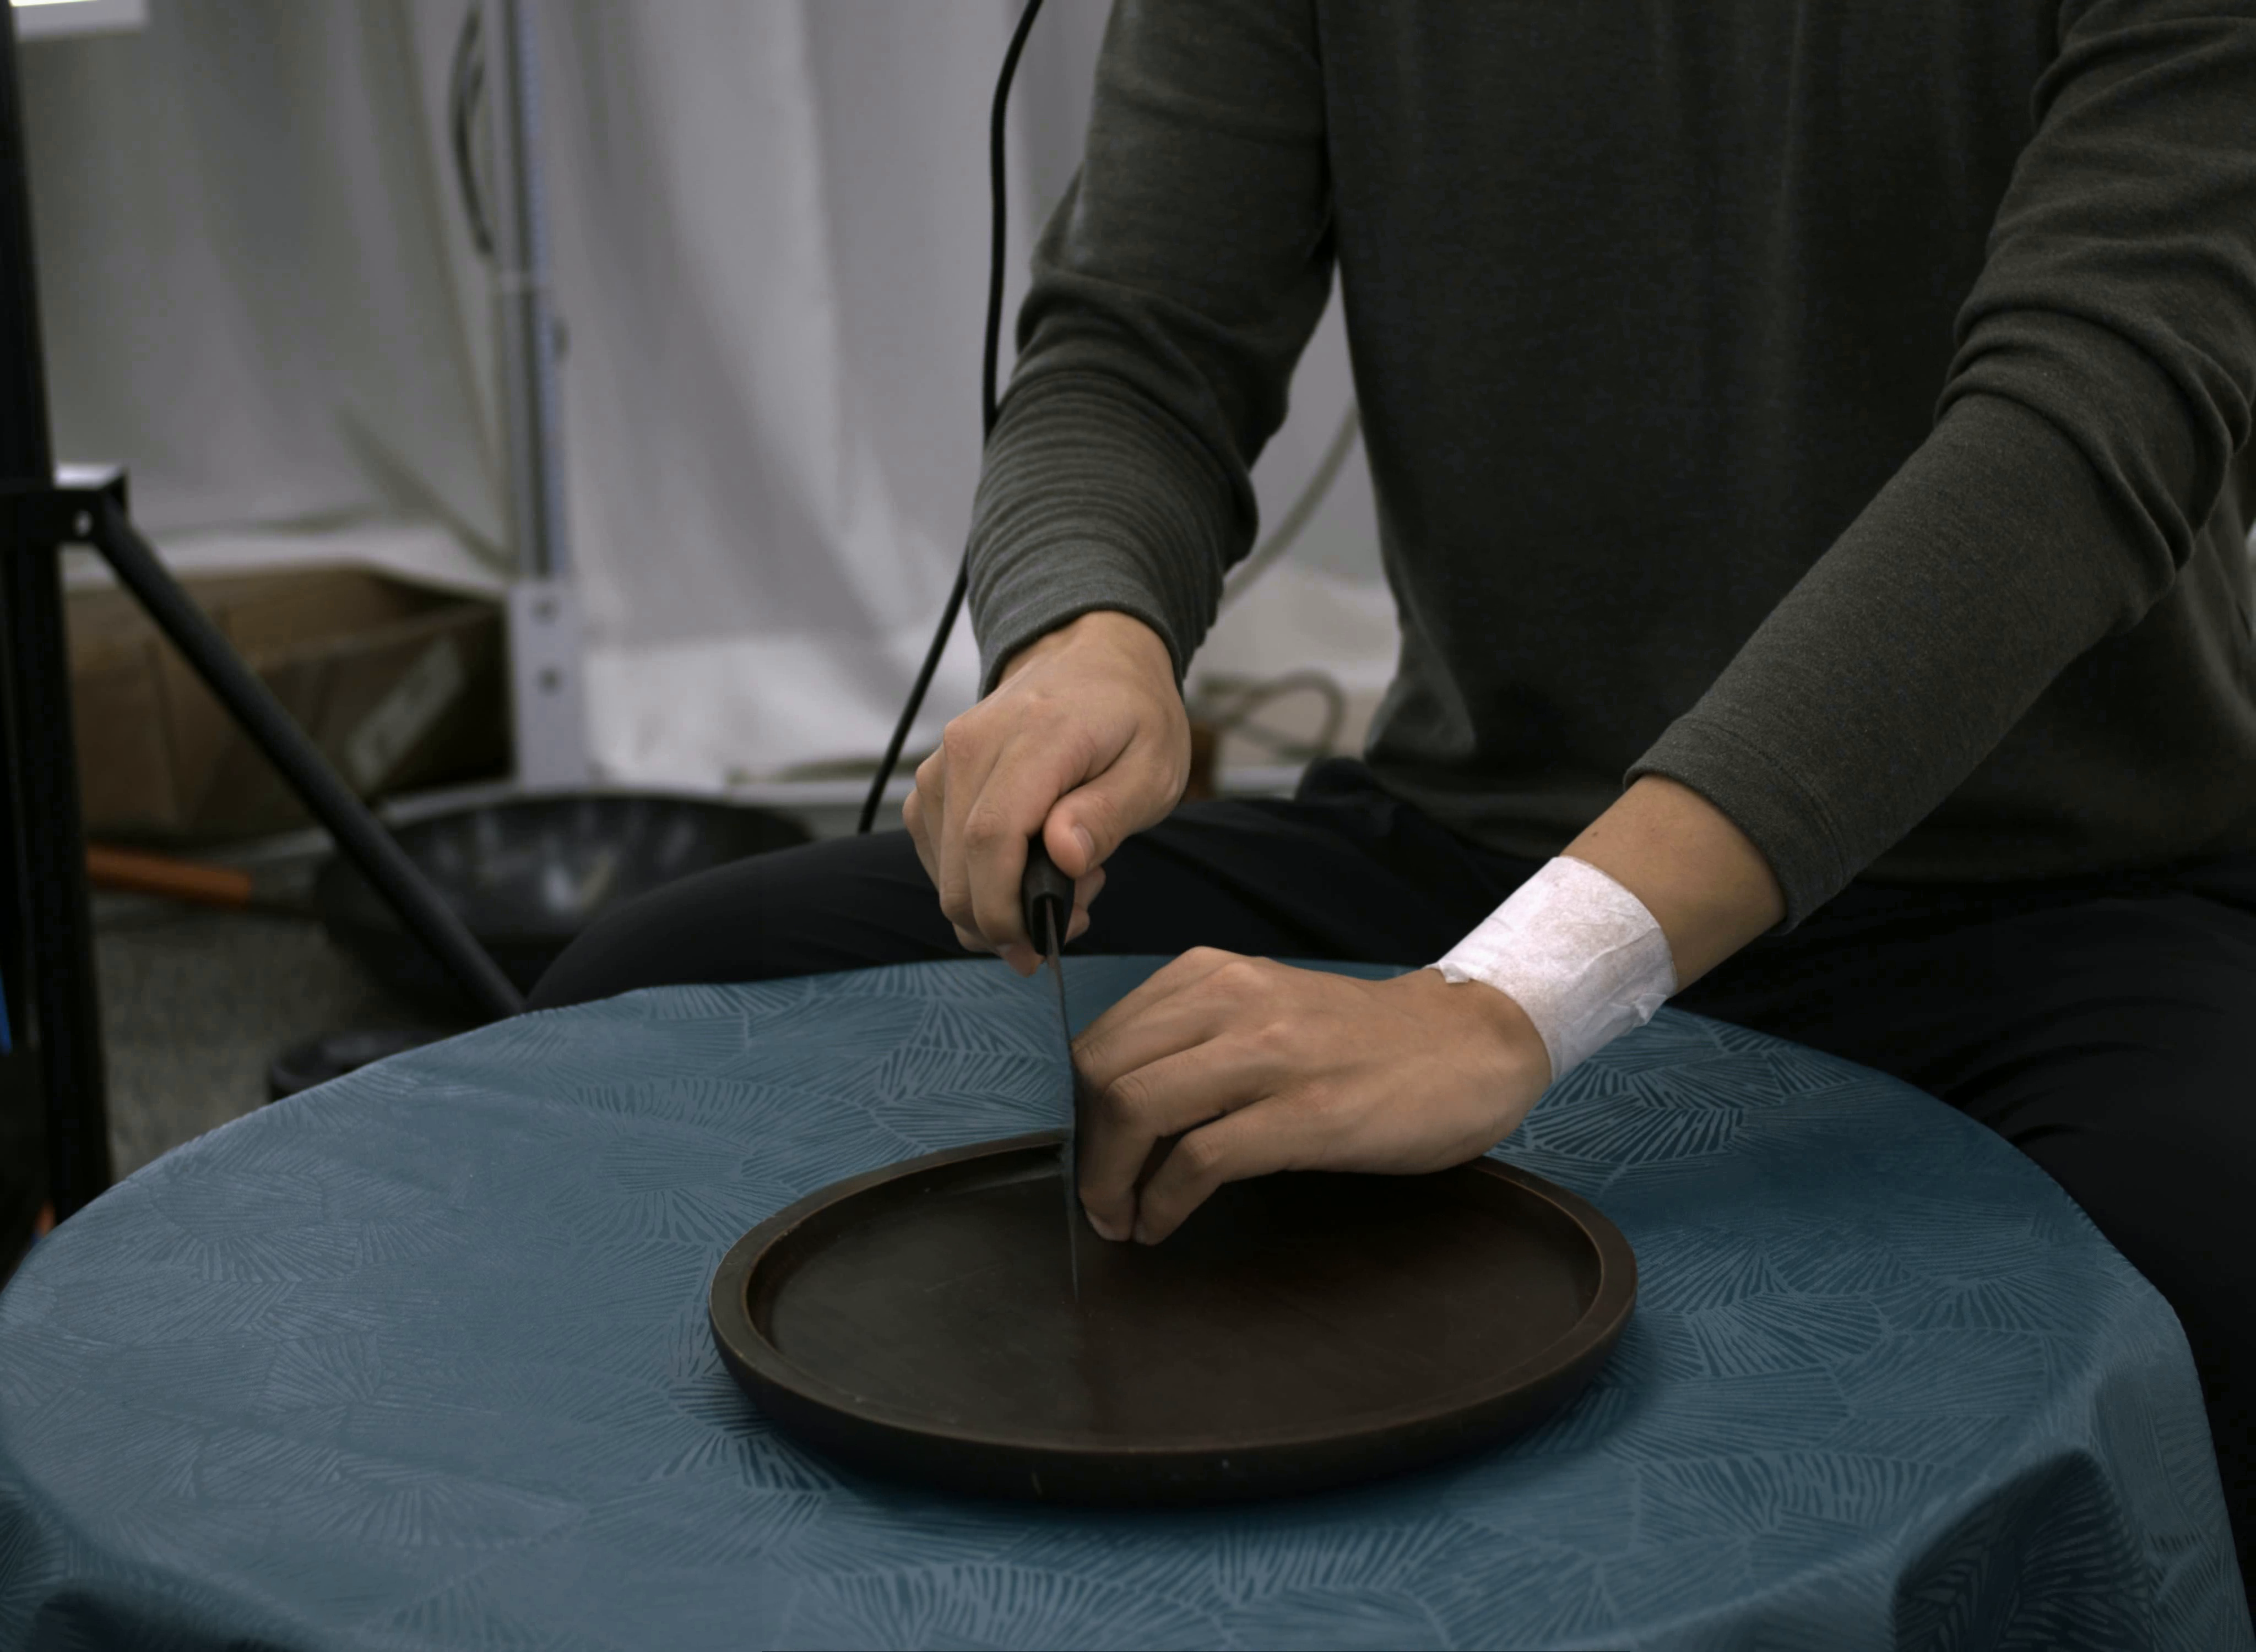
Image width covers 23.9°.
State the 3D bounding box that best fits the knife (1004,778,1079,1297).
[{"bbox_3d":[-0.021,0.050,1.498,0.021,0.081,0.304,-1,20,-3],"label":"knife"}]

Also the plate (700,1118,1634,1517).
[{"bbox_3d":[0.011,0.130,1.439,0.253,0.029,0.256,-4,16,0],"label":"plate"}]
